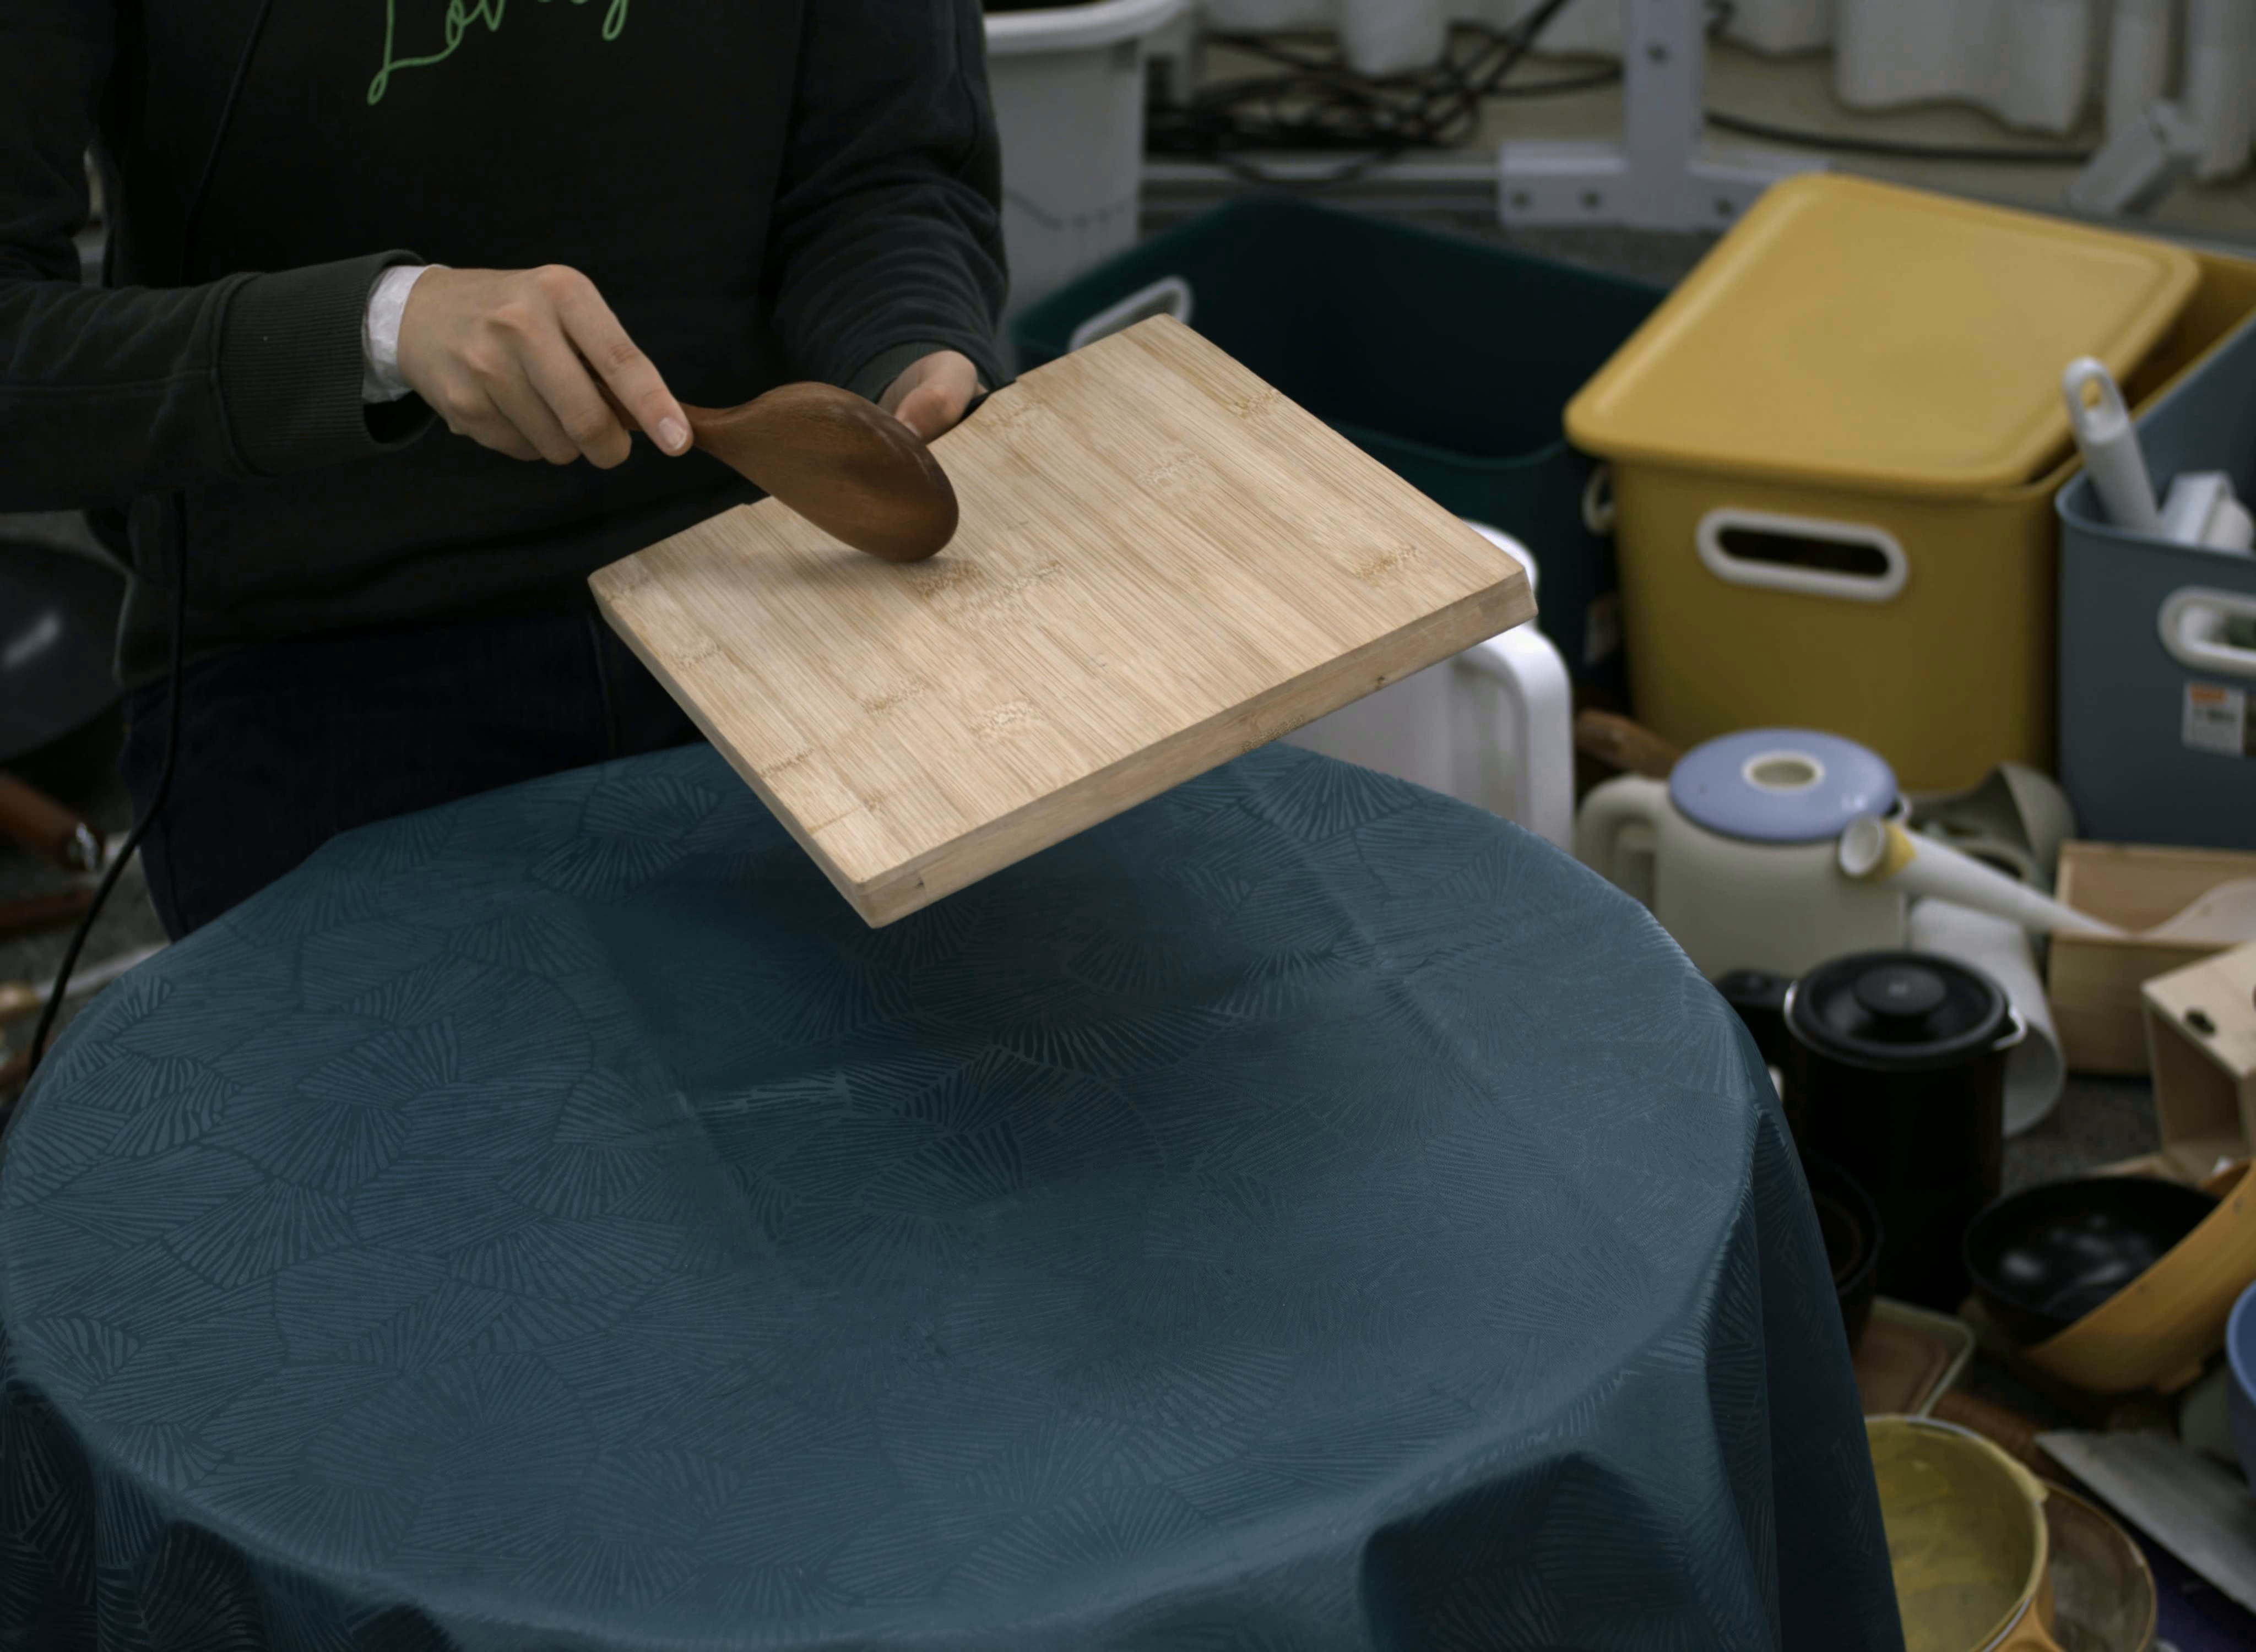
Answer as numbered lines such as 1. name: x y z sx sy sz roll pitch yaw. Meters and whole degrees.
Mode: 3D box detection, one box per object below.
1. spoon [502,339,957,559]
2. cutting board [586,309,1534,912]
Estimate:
1. spoon: -0.145 -0.137 1.990 0.215 0.074 0.017 20 56 37
2. cutting board: -0.033 -0.081 1.931 0.251 0.023 0.350 -25 25 -12
